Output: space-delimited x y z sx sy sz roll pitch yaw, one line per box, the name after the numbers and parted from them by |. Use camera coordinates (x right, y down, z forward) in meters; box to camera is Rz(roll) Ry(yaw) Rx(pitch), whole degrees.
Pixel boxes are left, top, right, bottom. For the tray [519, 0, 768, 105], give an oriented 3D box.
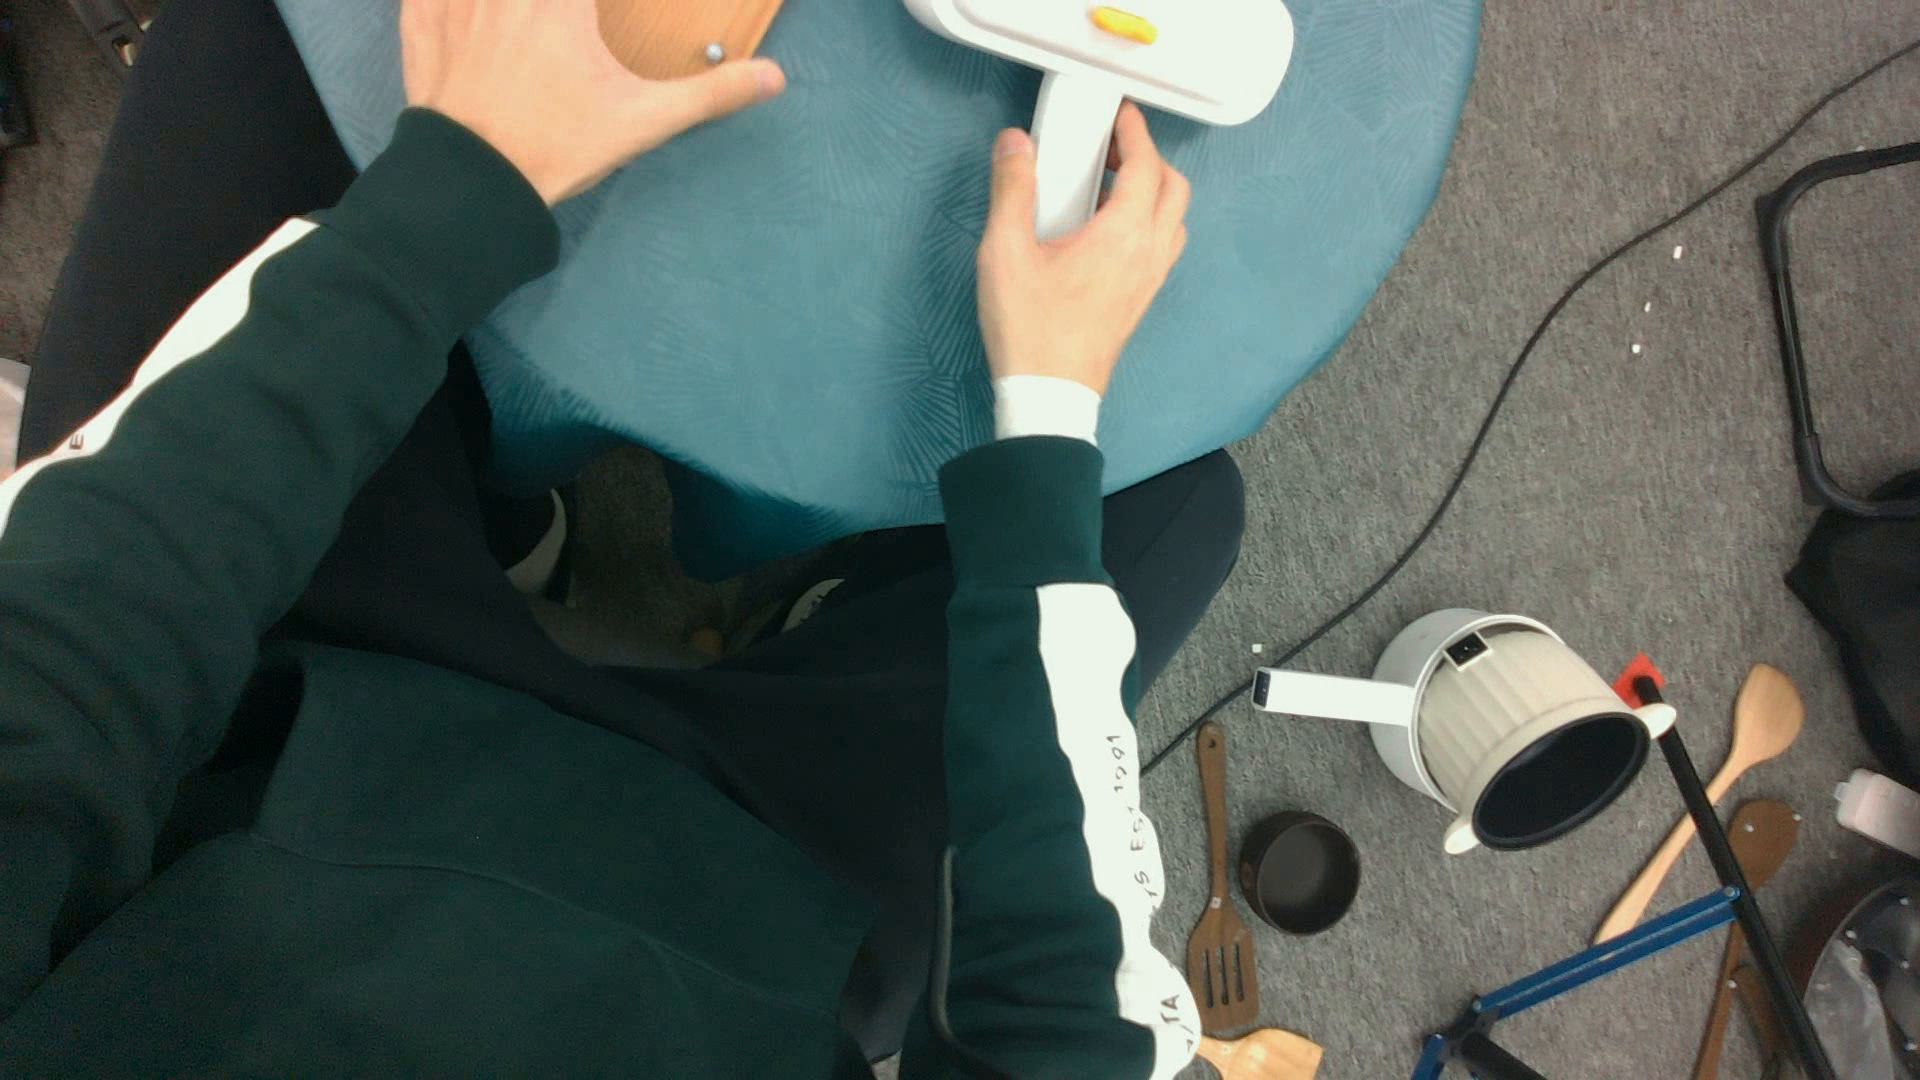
-0.111 -0.299 0.604 0.102 0.020 0.231 28 86 -20 | tray

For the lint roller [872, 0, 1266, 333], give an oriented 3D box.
0.044 -0.196 0.648 0.193 0.074 0.192 4 110 -26 | lint roller
